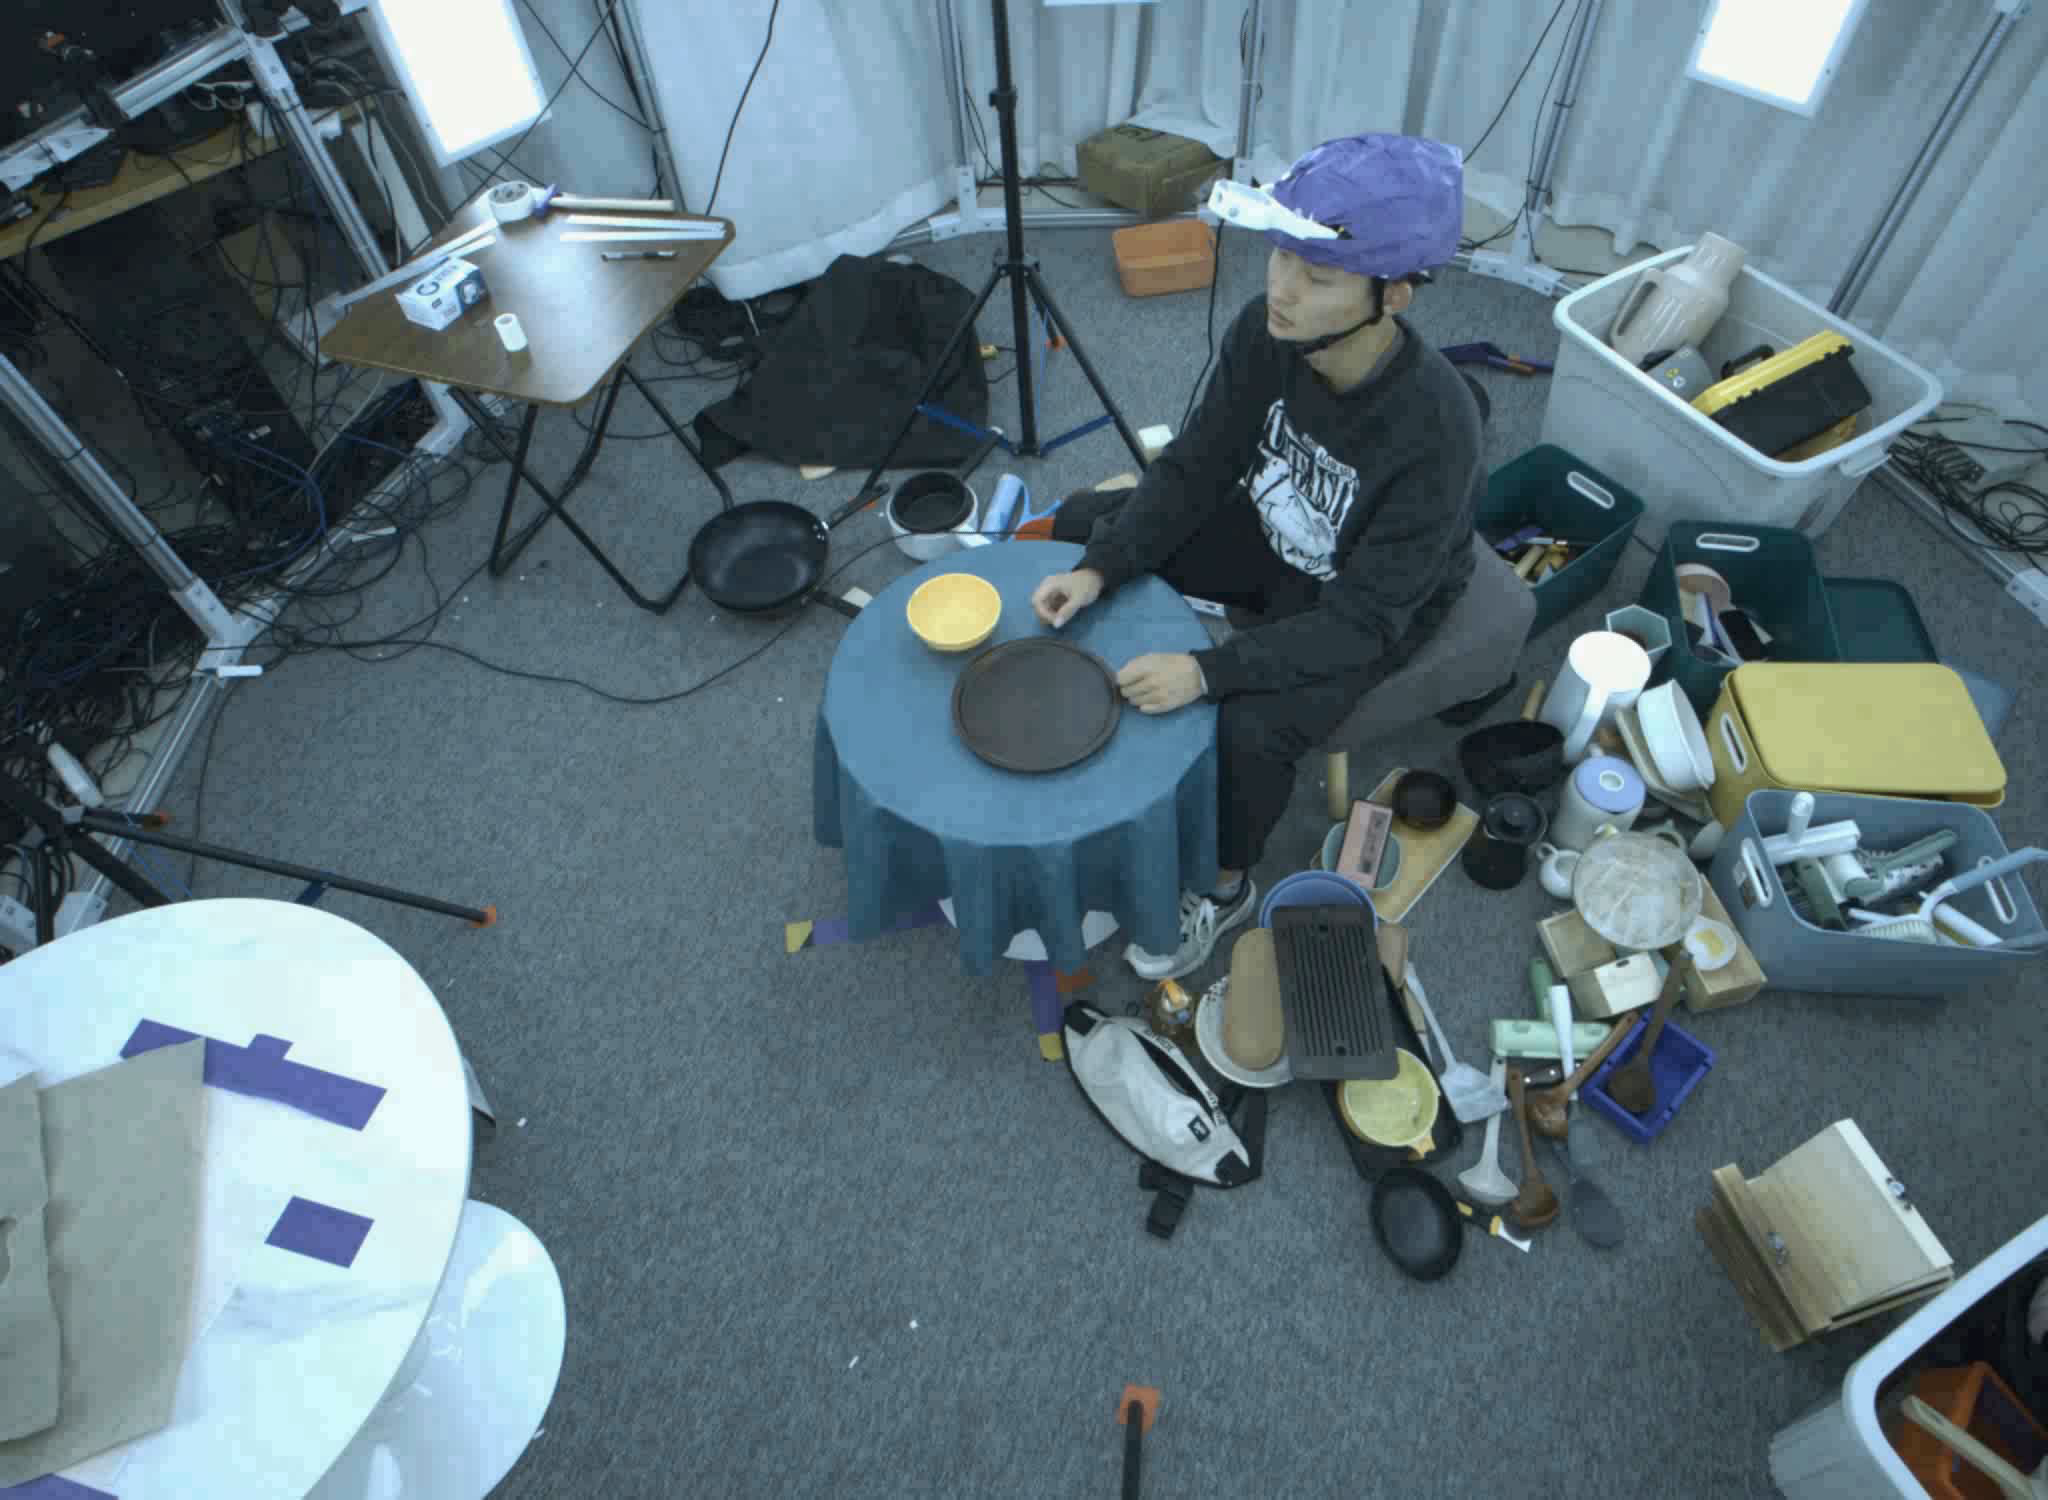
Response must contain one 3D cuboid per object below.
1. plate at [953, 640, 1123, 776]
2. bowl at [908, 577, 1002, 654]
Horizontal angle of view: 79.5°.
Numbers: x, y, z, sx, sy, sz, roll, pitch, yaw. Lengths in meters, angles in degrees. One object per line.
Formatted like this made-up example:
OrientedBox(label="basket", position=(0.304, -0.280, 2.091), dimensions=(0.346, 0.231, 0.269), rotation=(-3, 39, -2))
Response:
OrientedBox(label="plate", position=(0.021, -0.063, 1.828), dimensions=(0.254, 0.029, 0.252), rotation=(-1, 53, 2))
OrientedBox(label="bowl", position=(-0.106, -0.197, 1.906), dimensions=(0.145, 0.060, 0.144), rotation=(1, 55, 0))
